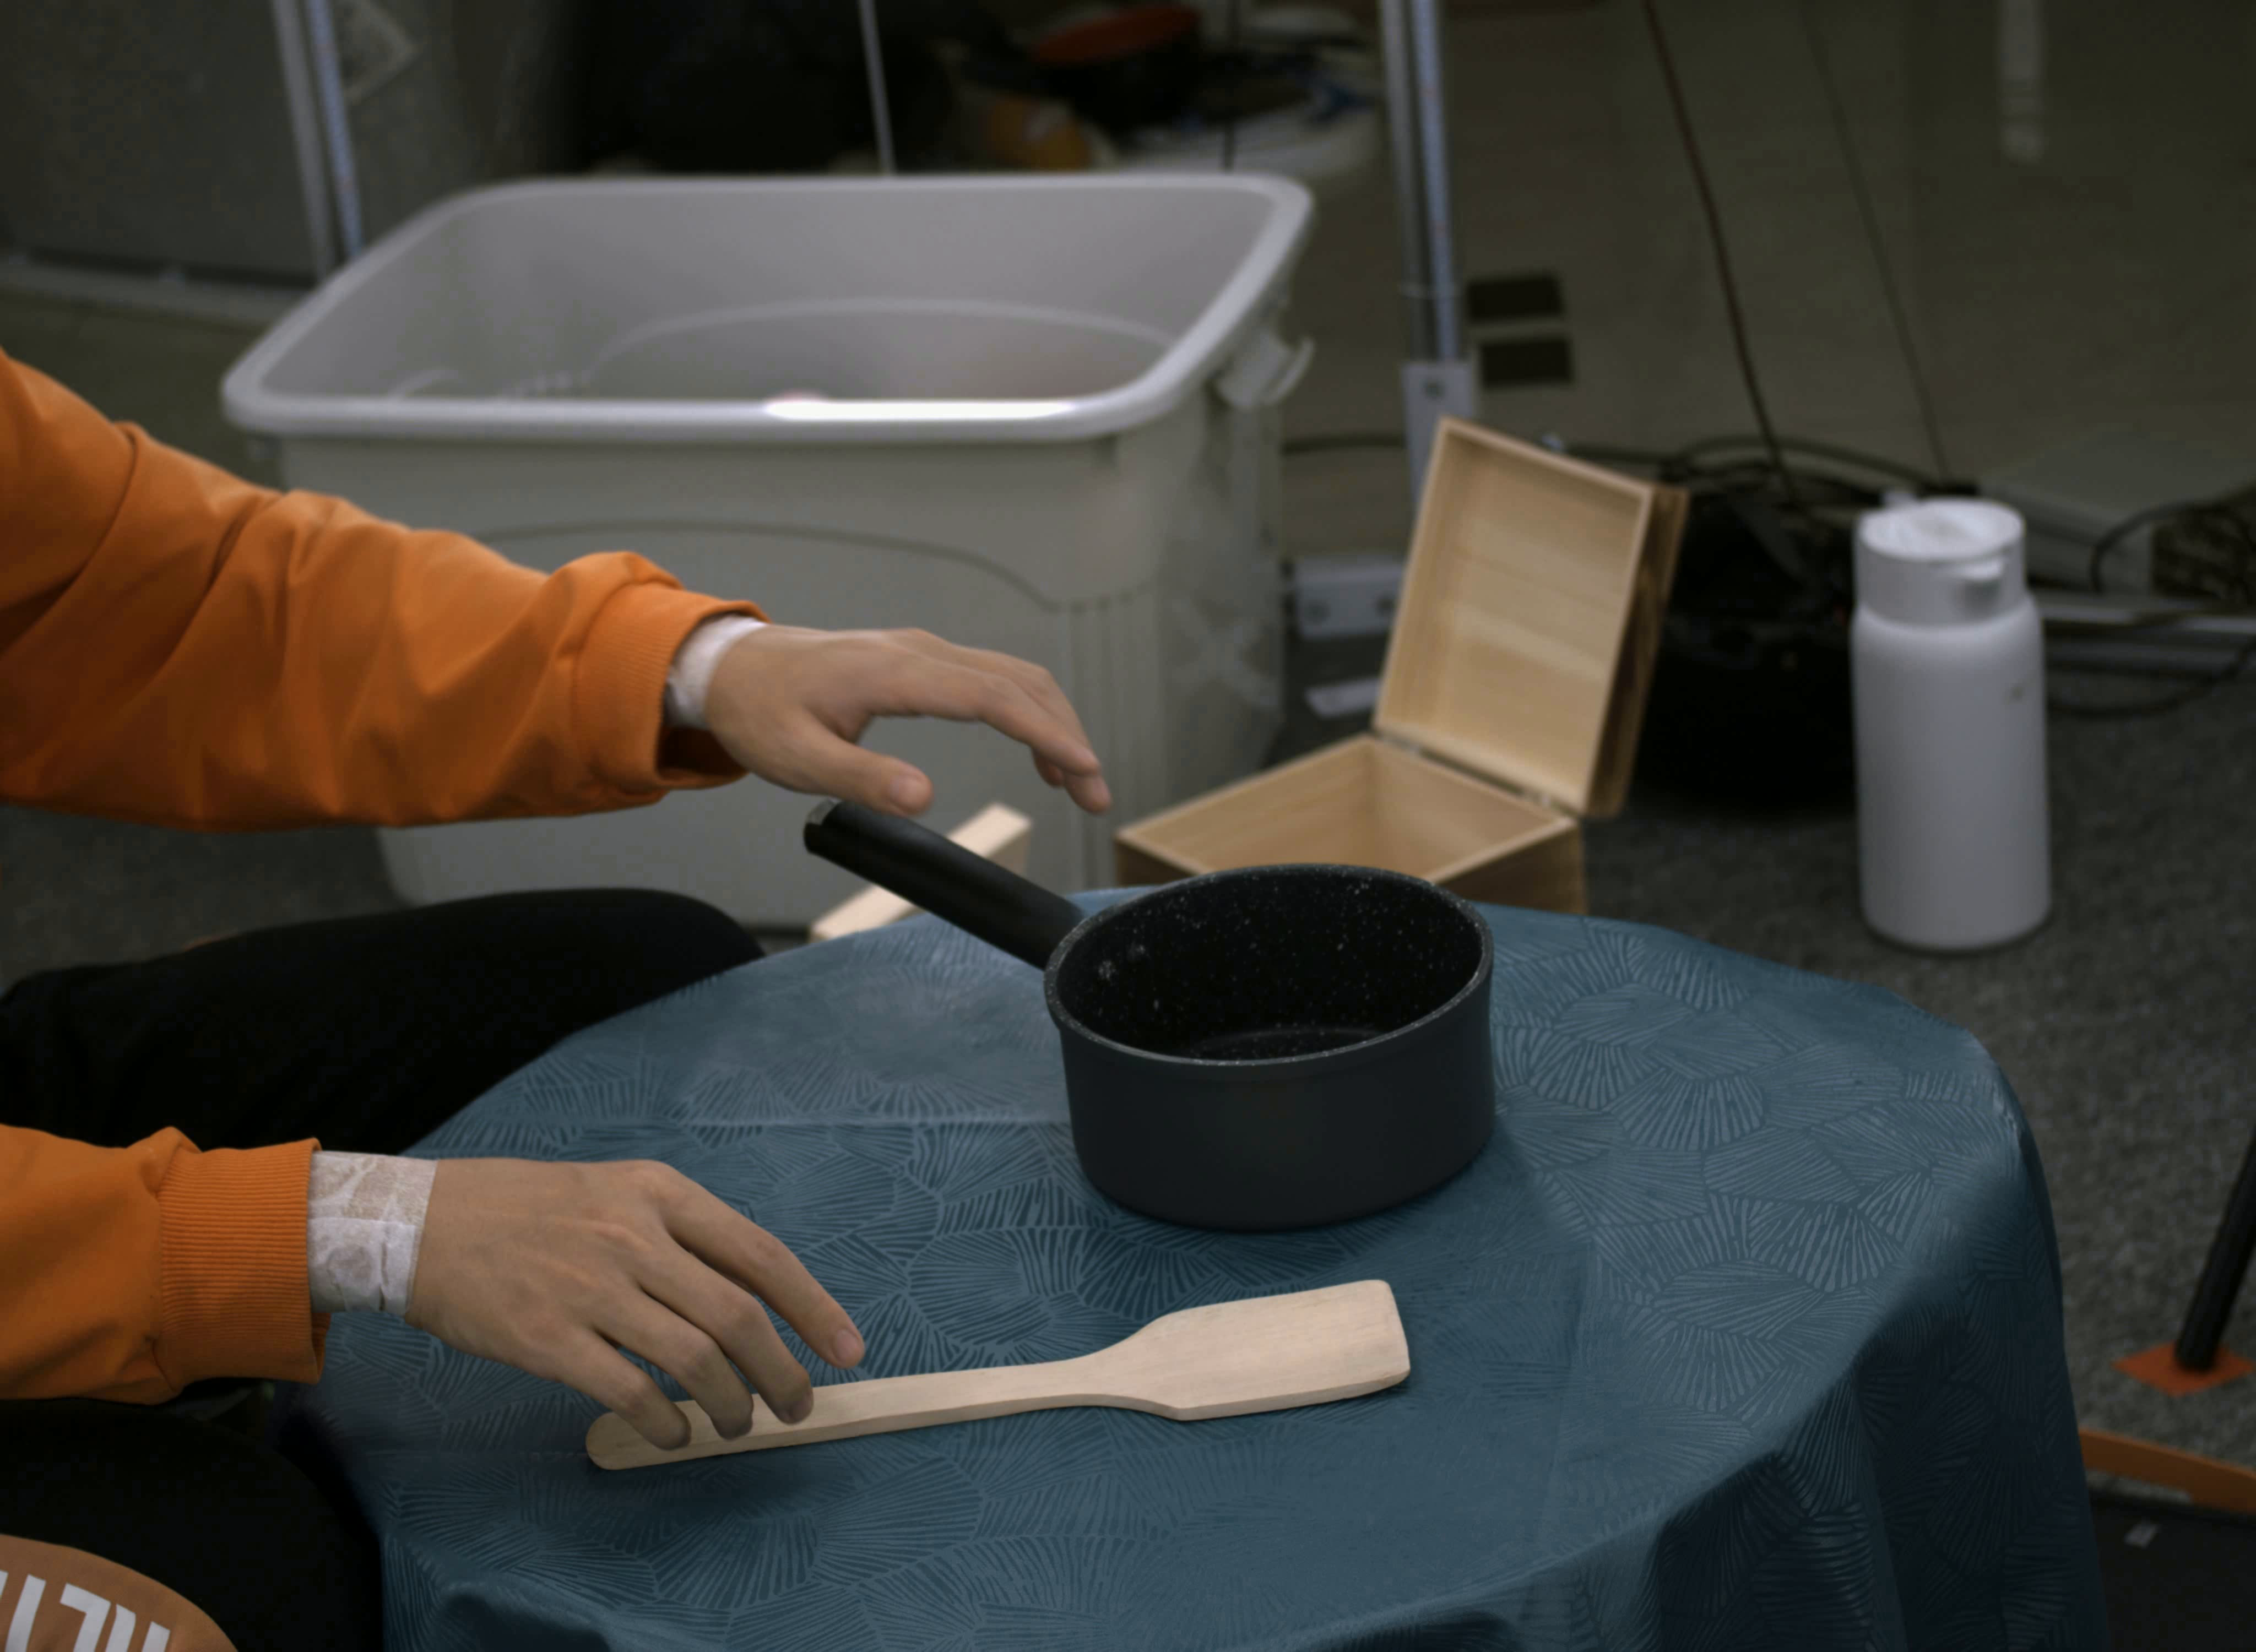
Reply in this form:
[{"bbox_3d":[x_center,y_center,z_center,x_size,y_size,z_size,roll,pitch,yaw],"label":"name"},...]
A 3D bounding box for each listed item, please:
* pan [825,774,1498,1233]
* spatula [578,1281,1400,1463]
[{"bbox_3d":[0.001,0.062,2.210,0.170,0.088,0.326,-27,33,-37],"label":"pan"},{"bbox_3d":[-0.050,0.201,2.017,0.292,0.011,0.071,-7,28,-2],"label":"spatula"}]
